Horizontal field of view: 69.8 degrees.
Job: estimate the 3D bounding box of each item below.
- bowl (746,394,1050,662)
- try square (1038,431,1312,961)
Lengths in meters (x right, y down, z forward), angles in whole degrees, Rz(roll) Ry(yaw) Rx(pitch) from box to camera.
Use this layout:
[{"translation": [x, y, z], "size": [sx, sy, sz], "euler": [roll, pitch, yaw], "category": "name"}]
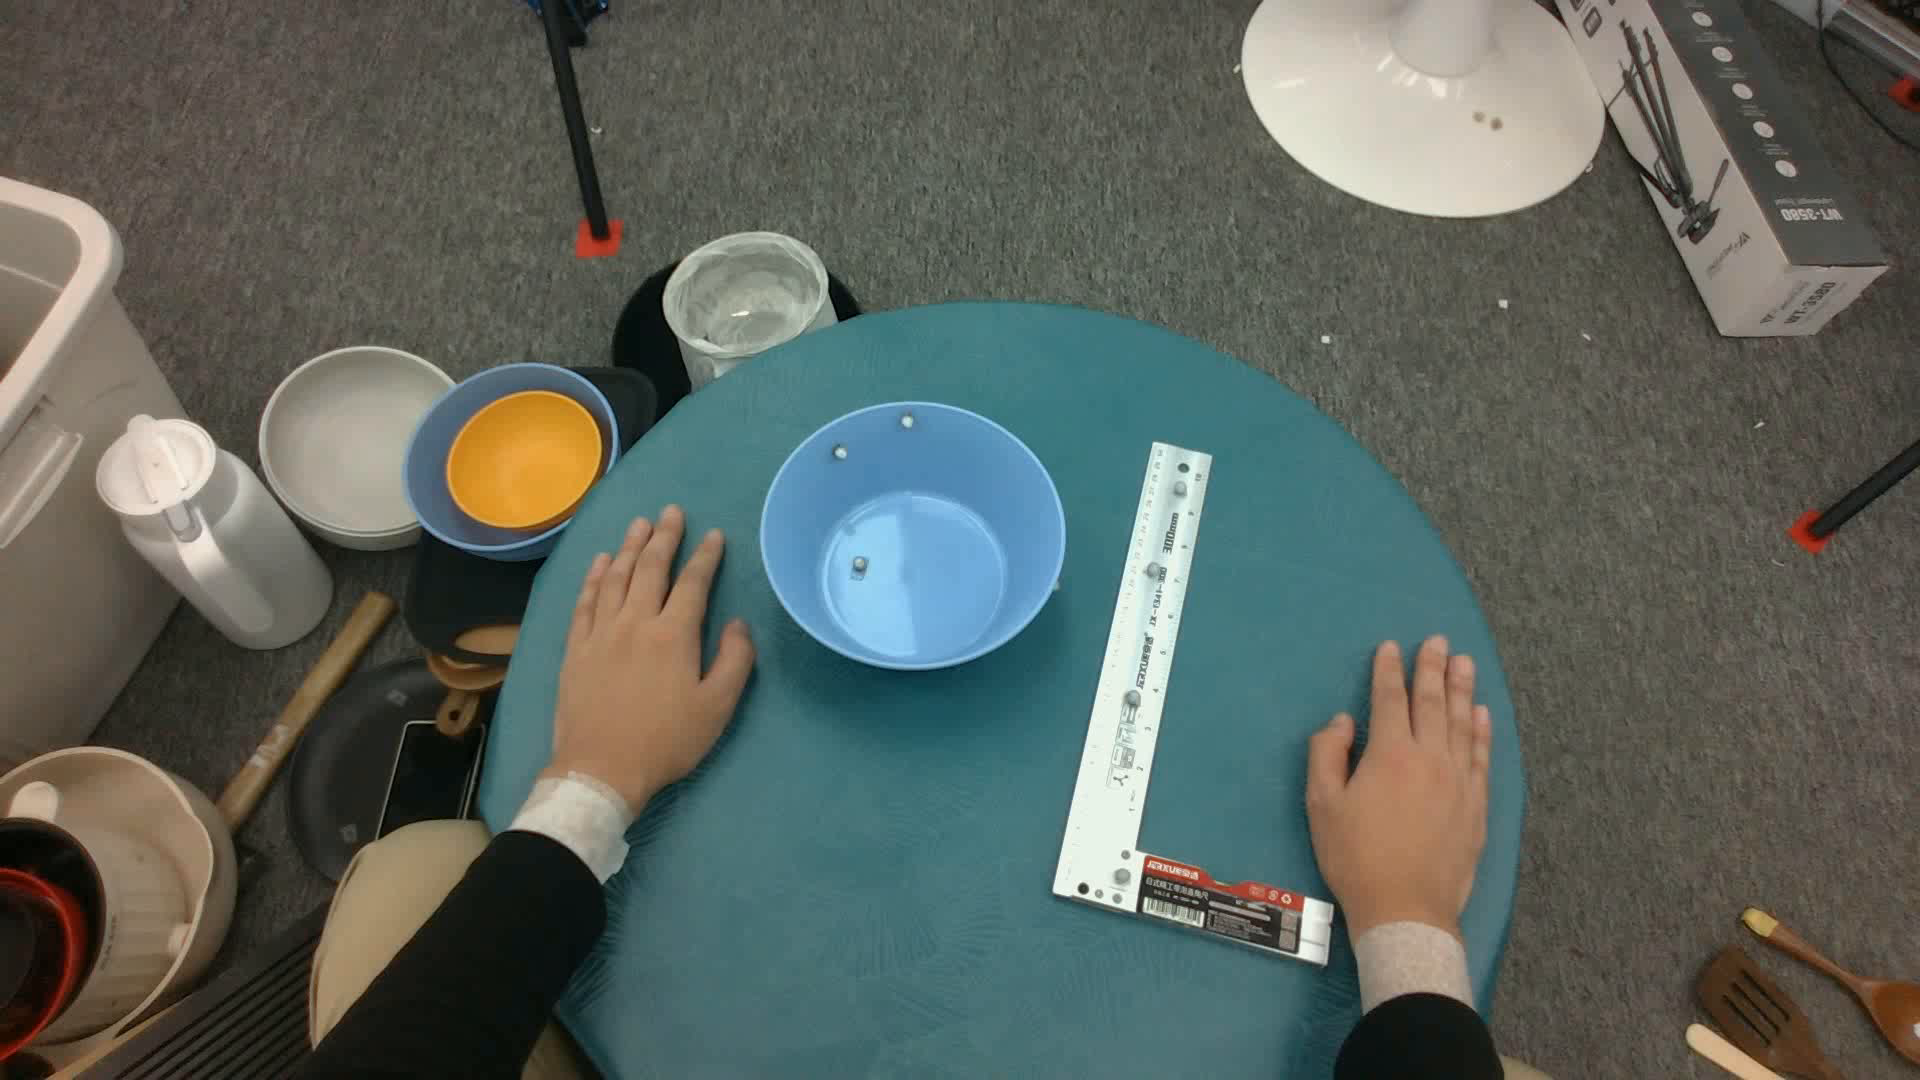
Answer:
[{"translation": [-0.037, 0.004, 0.817], "size": [0.176, 0.070, 0.177], "euler": [2, 61, -3], "category": "bowl"}, {"translation": [0.151, 0.080, 0.827], "size": [0.152, 0.016, 0.314], "euler": [16, 60, 0], "category": "try square"}]
